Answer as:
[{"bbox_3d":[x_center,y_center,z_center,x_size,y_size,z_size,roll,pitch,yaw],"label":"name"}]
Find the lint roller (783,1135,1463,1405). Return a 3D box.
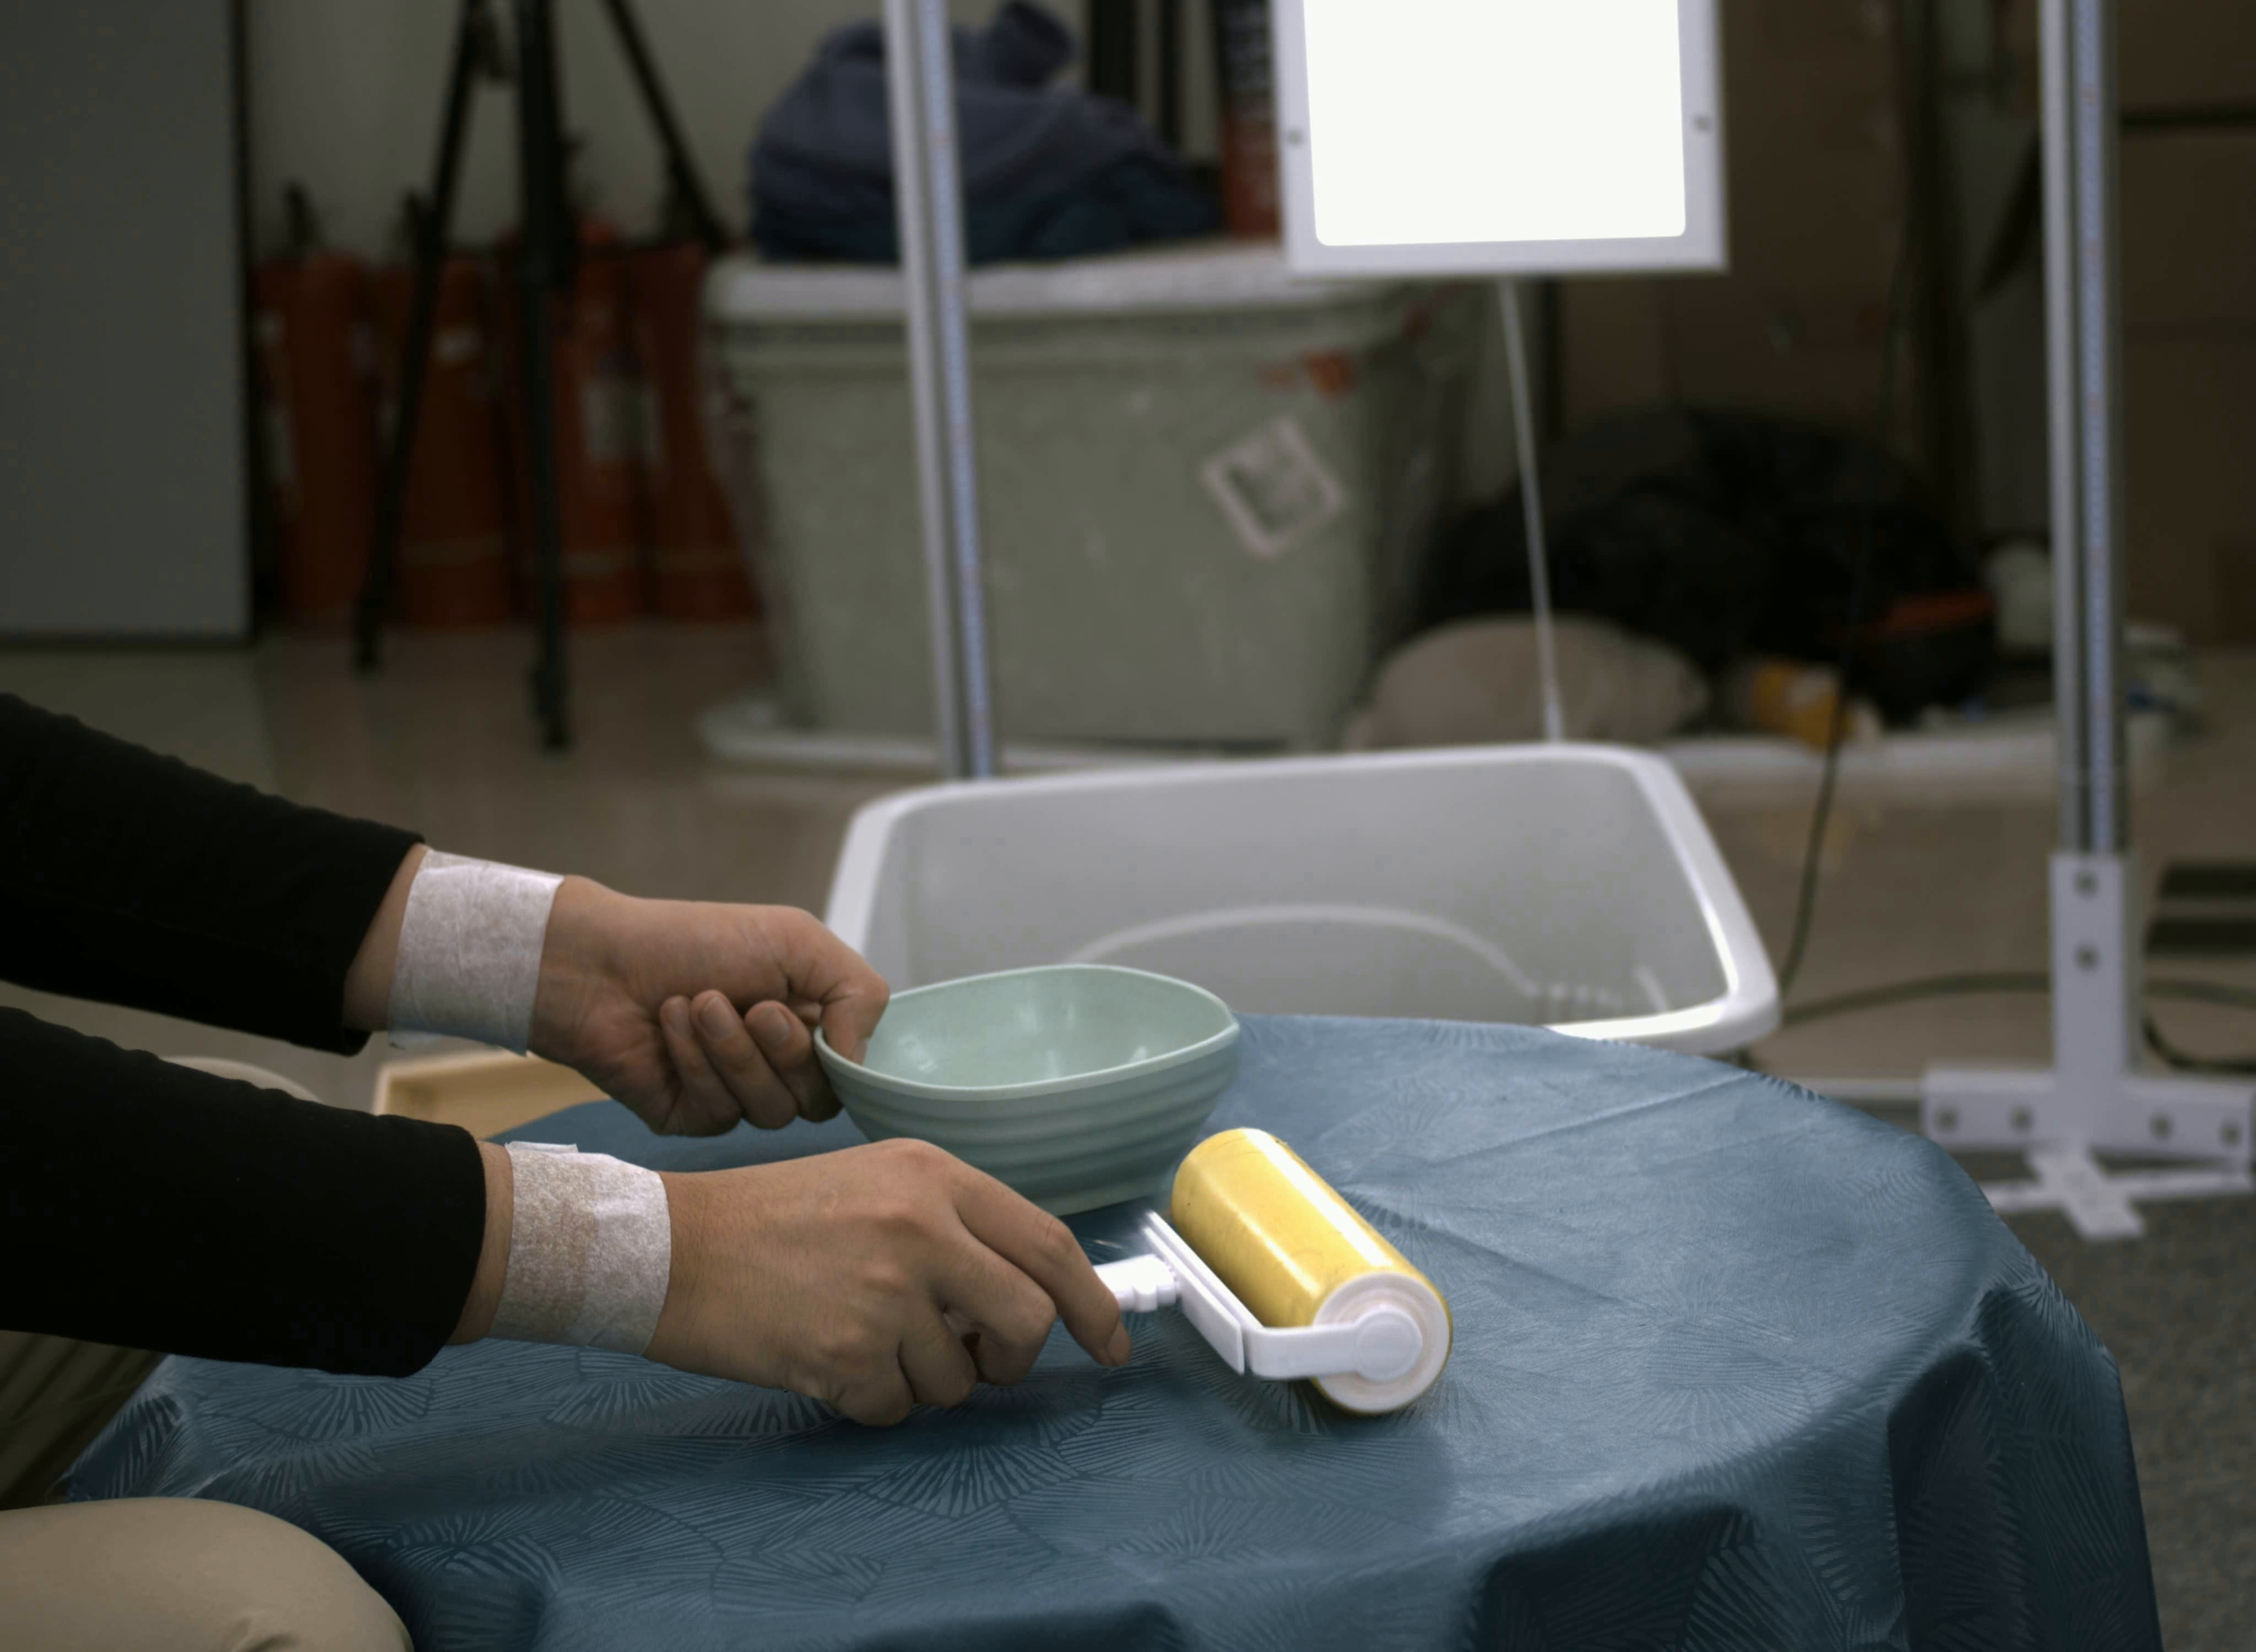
[{"bbox_3d":[-0.012,0.135,1.710,0.189,0.051,0.176,4,10,-15],"label":"lint roller"}]

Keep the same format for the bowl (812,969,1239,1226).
[{"bbox_3d":[-0.035,0.097,1.912,0.151,0.059,0.151,-3,14,-1],"label":"bowl"}]
